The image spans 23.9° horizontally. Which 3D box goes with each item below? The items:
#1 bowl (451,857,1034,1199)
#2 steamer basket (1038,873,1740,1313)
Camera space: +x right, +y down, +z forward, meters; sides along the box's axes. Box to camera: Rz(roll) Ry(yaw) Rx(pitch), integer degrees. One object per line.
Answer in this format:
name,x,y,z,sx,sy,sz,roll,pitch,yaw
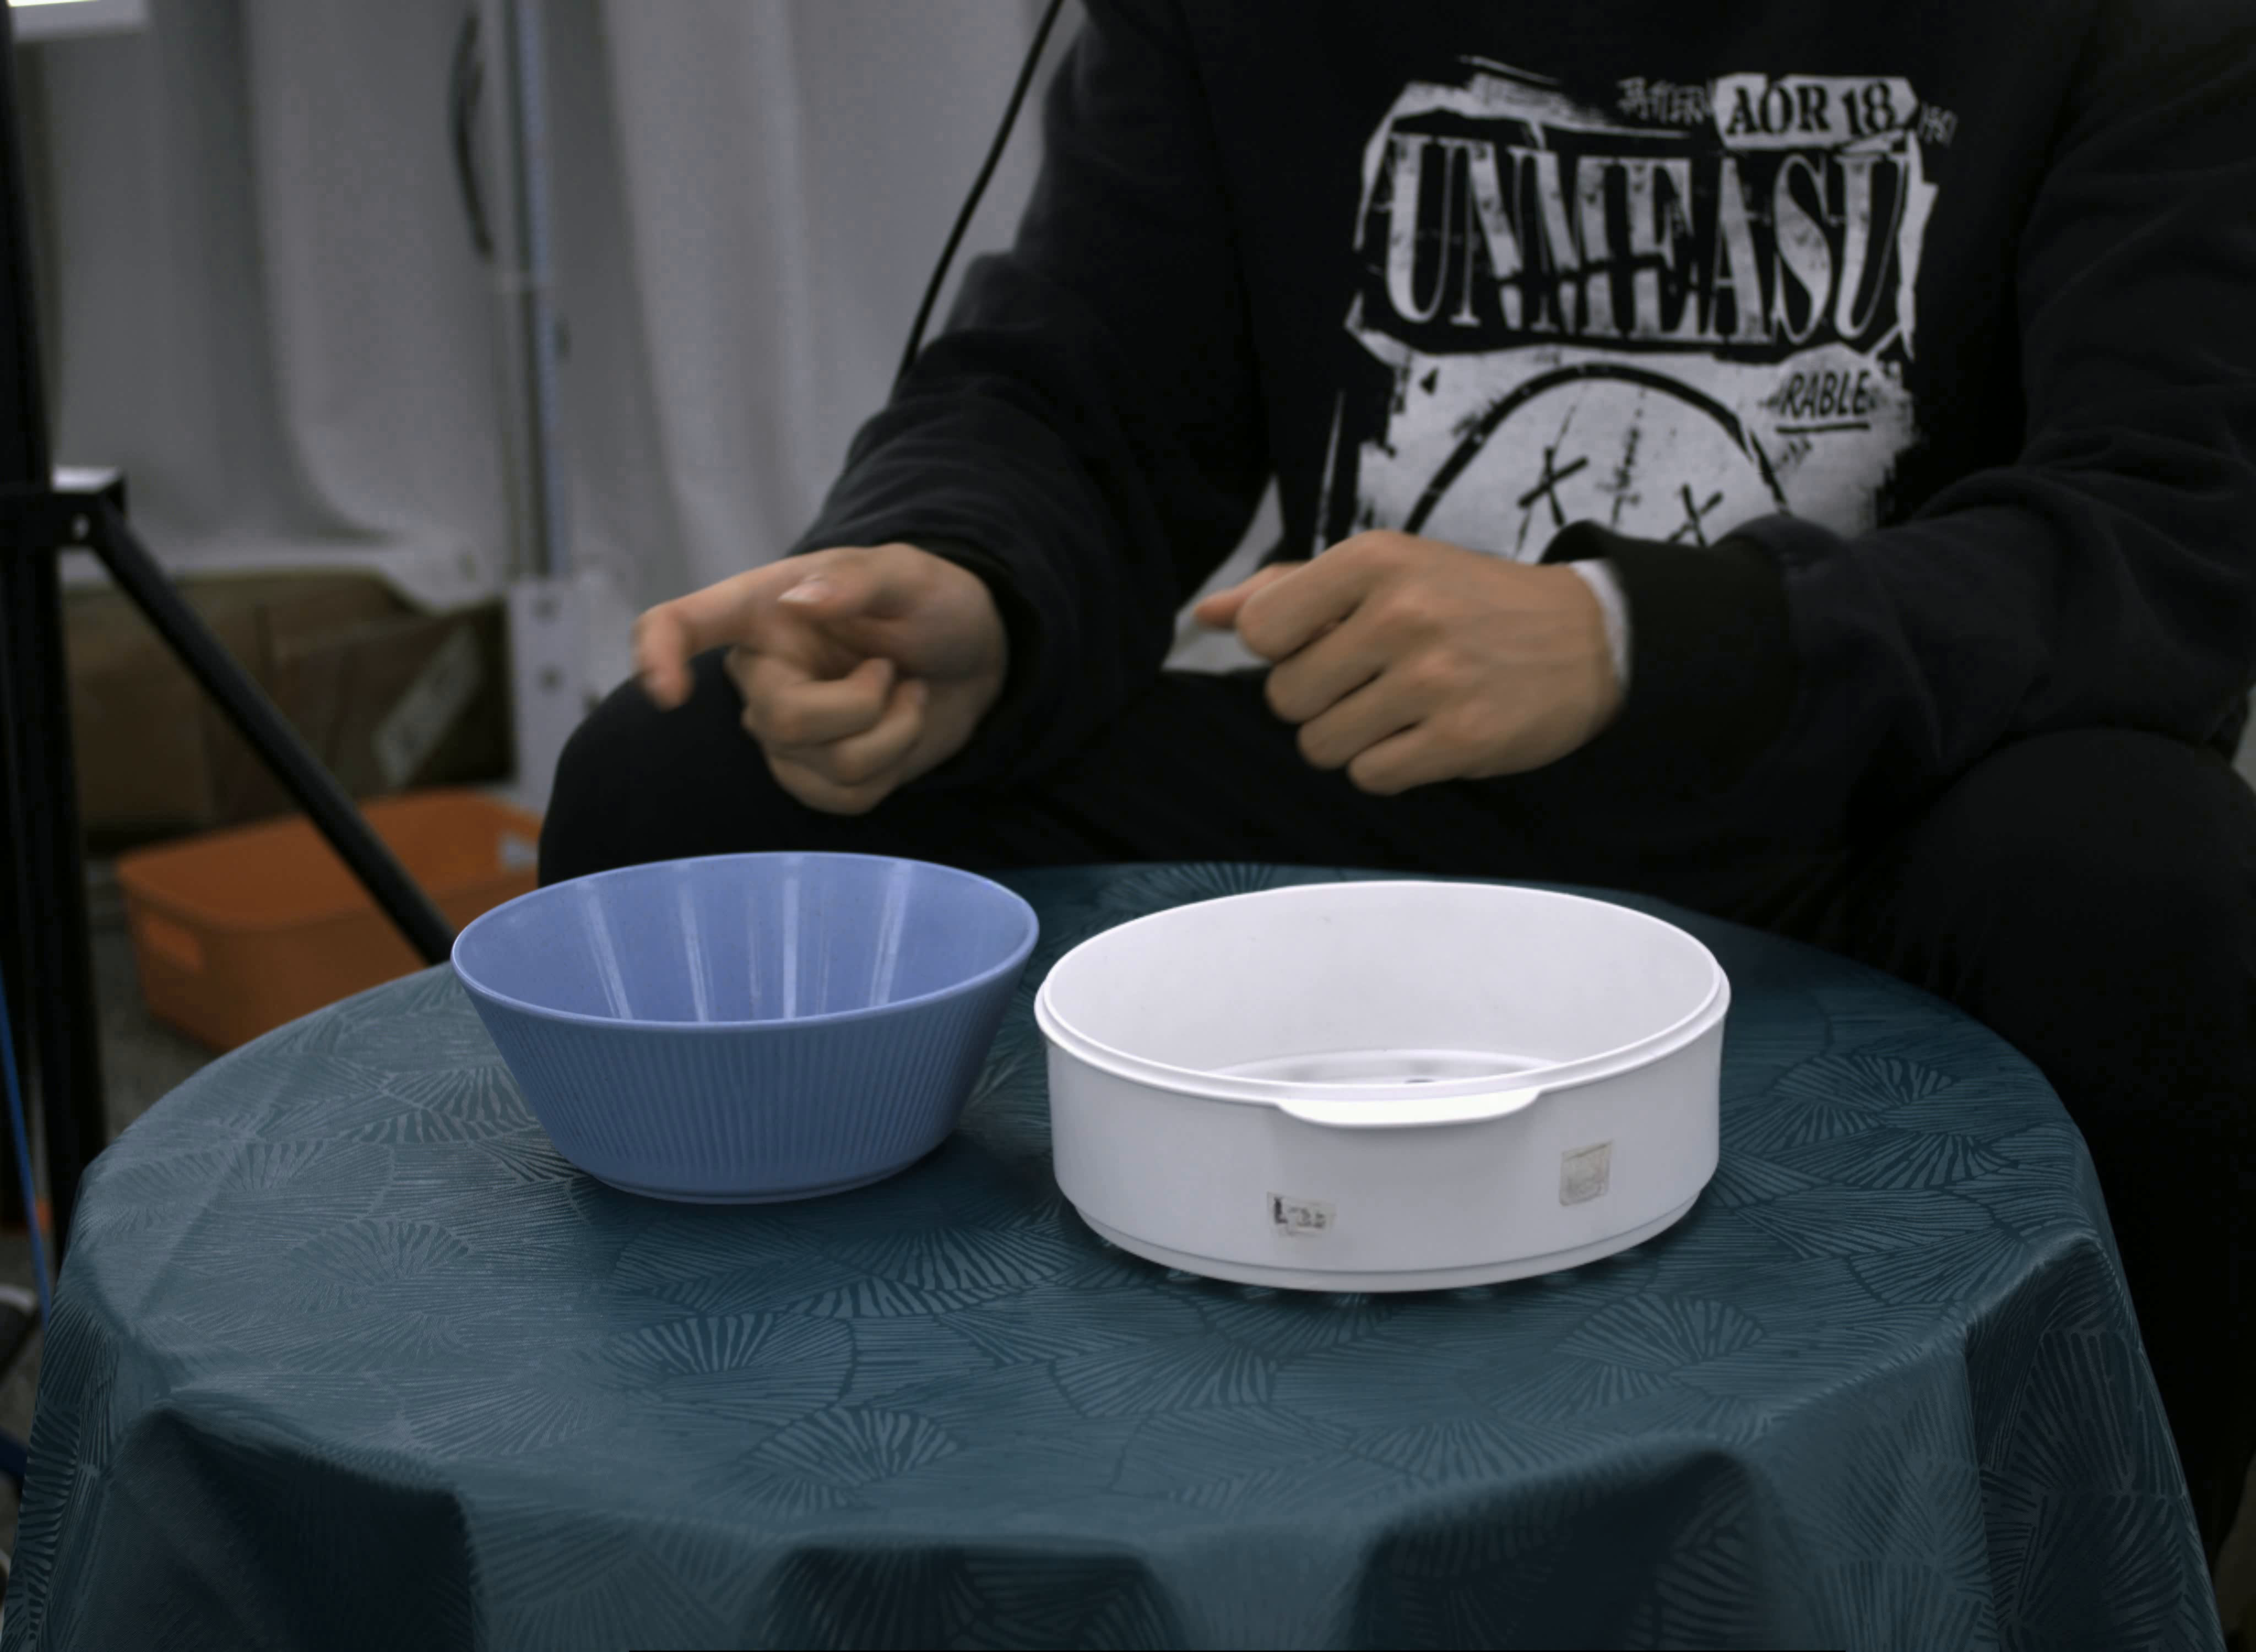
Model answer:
bowl,-0.115,0.063,1.606,0.175,0.070,0.177,-2,16,-1
steamer basket,0.075,0.077,1.530,0.201,0.069,0.232,-3,18,-1
